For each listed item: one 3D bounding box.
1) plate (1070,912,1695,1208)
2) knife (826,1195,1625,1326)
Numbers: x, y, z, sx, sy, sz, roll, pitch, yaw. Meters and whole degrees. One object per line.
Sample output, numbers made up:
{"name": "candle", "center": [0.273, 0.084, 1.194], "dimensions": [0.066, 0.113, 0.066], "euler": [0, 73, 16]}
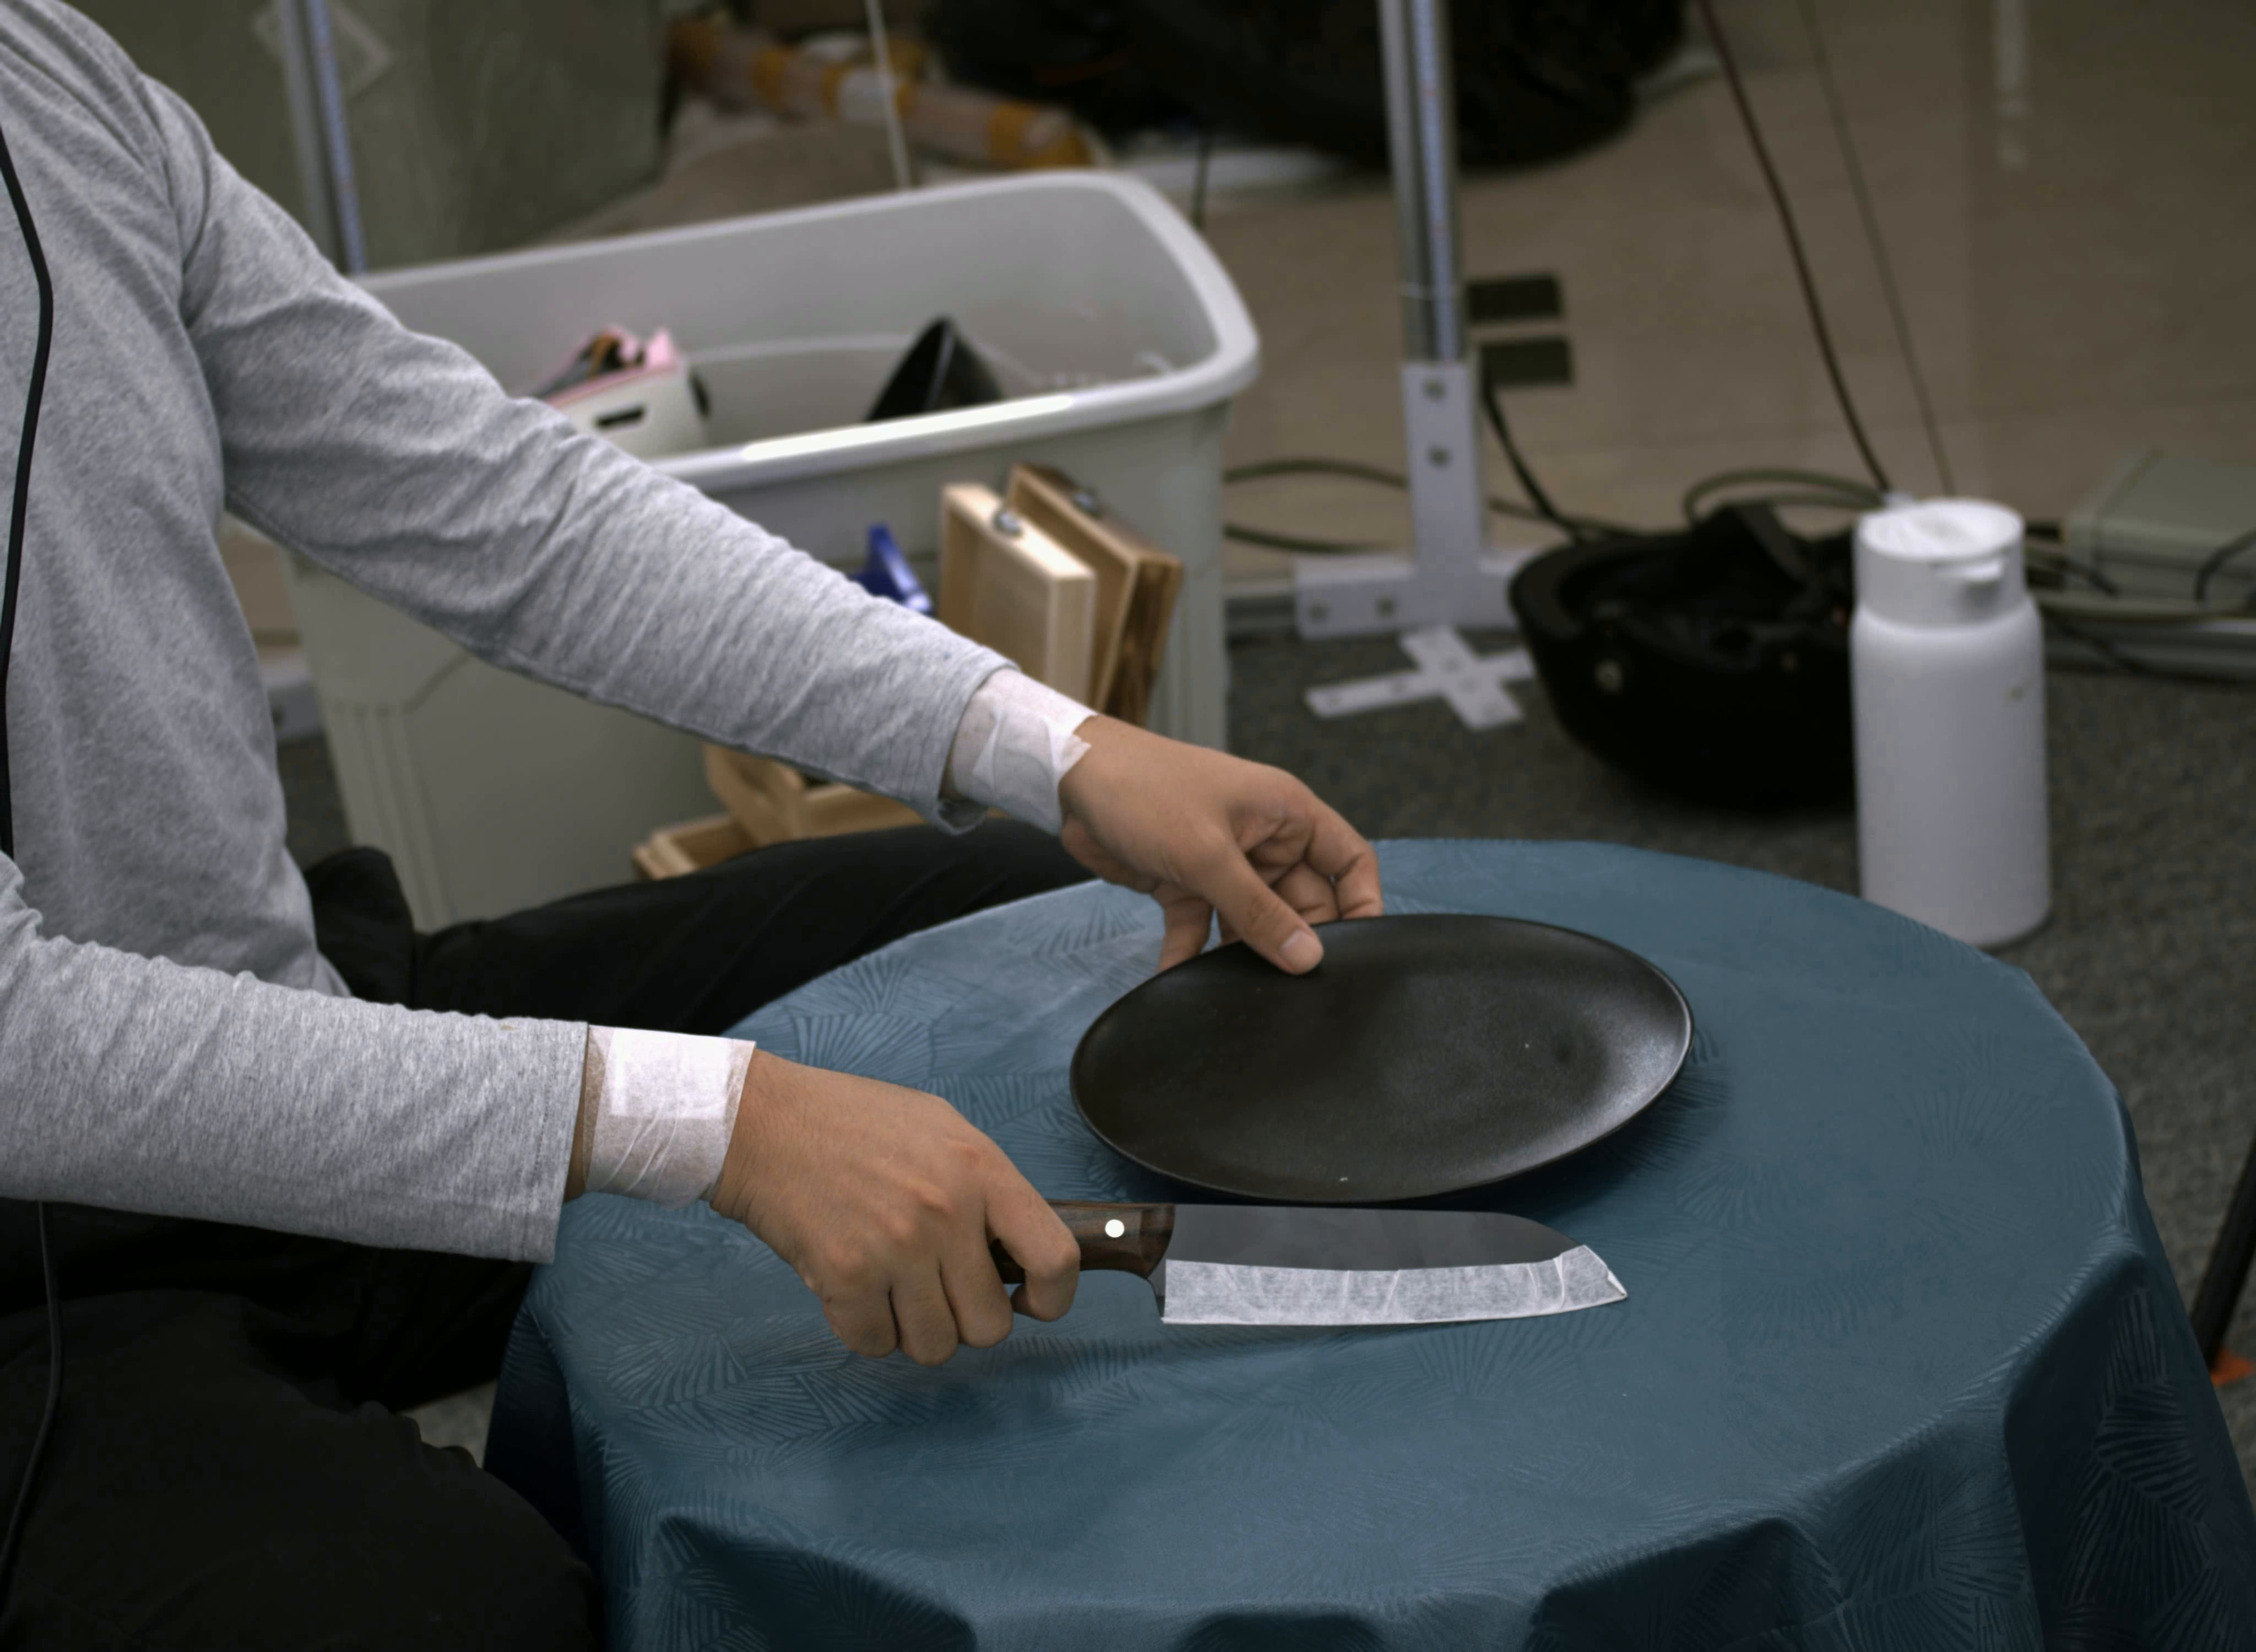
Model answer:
{"name": "plate", "center": [0.098, 0.095, 2.194], "dimensions": [0.244, 0.024, 0.241], "euler": [-6, 25, 3]}
{"name": "knife", "center": [0.035, 0.156, 2.040], "dimensions": [0.288, 0.050, 0.020], "euler": [3, -17, 0]}
